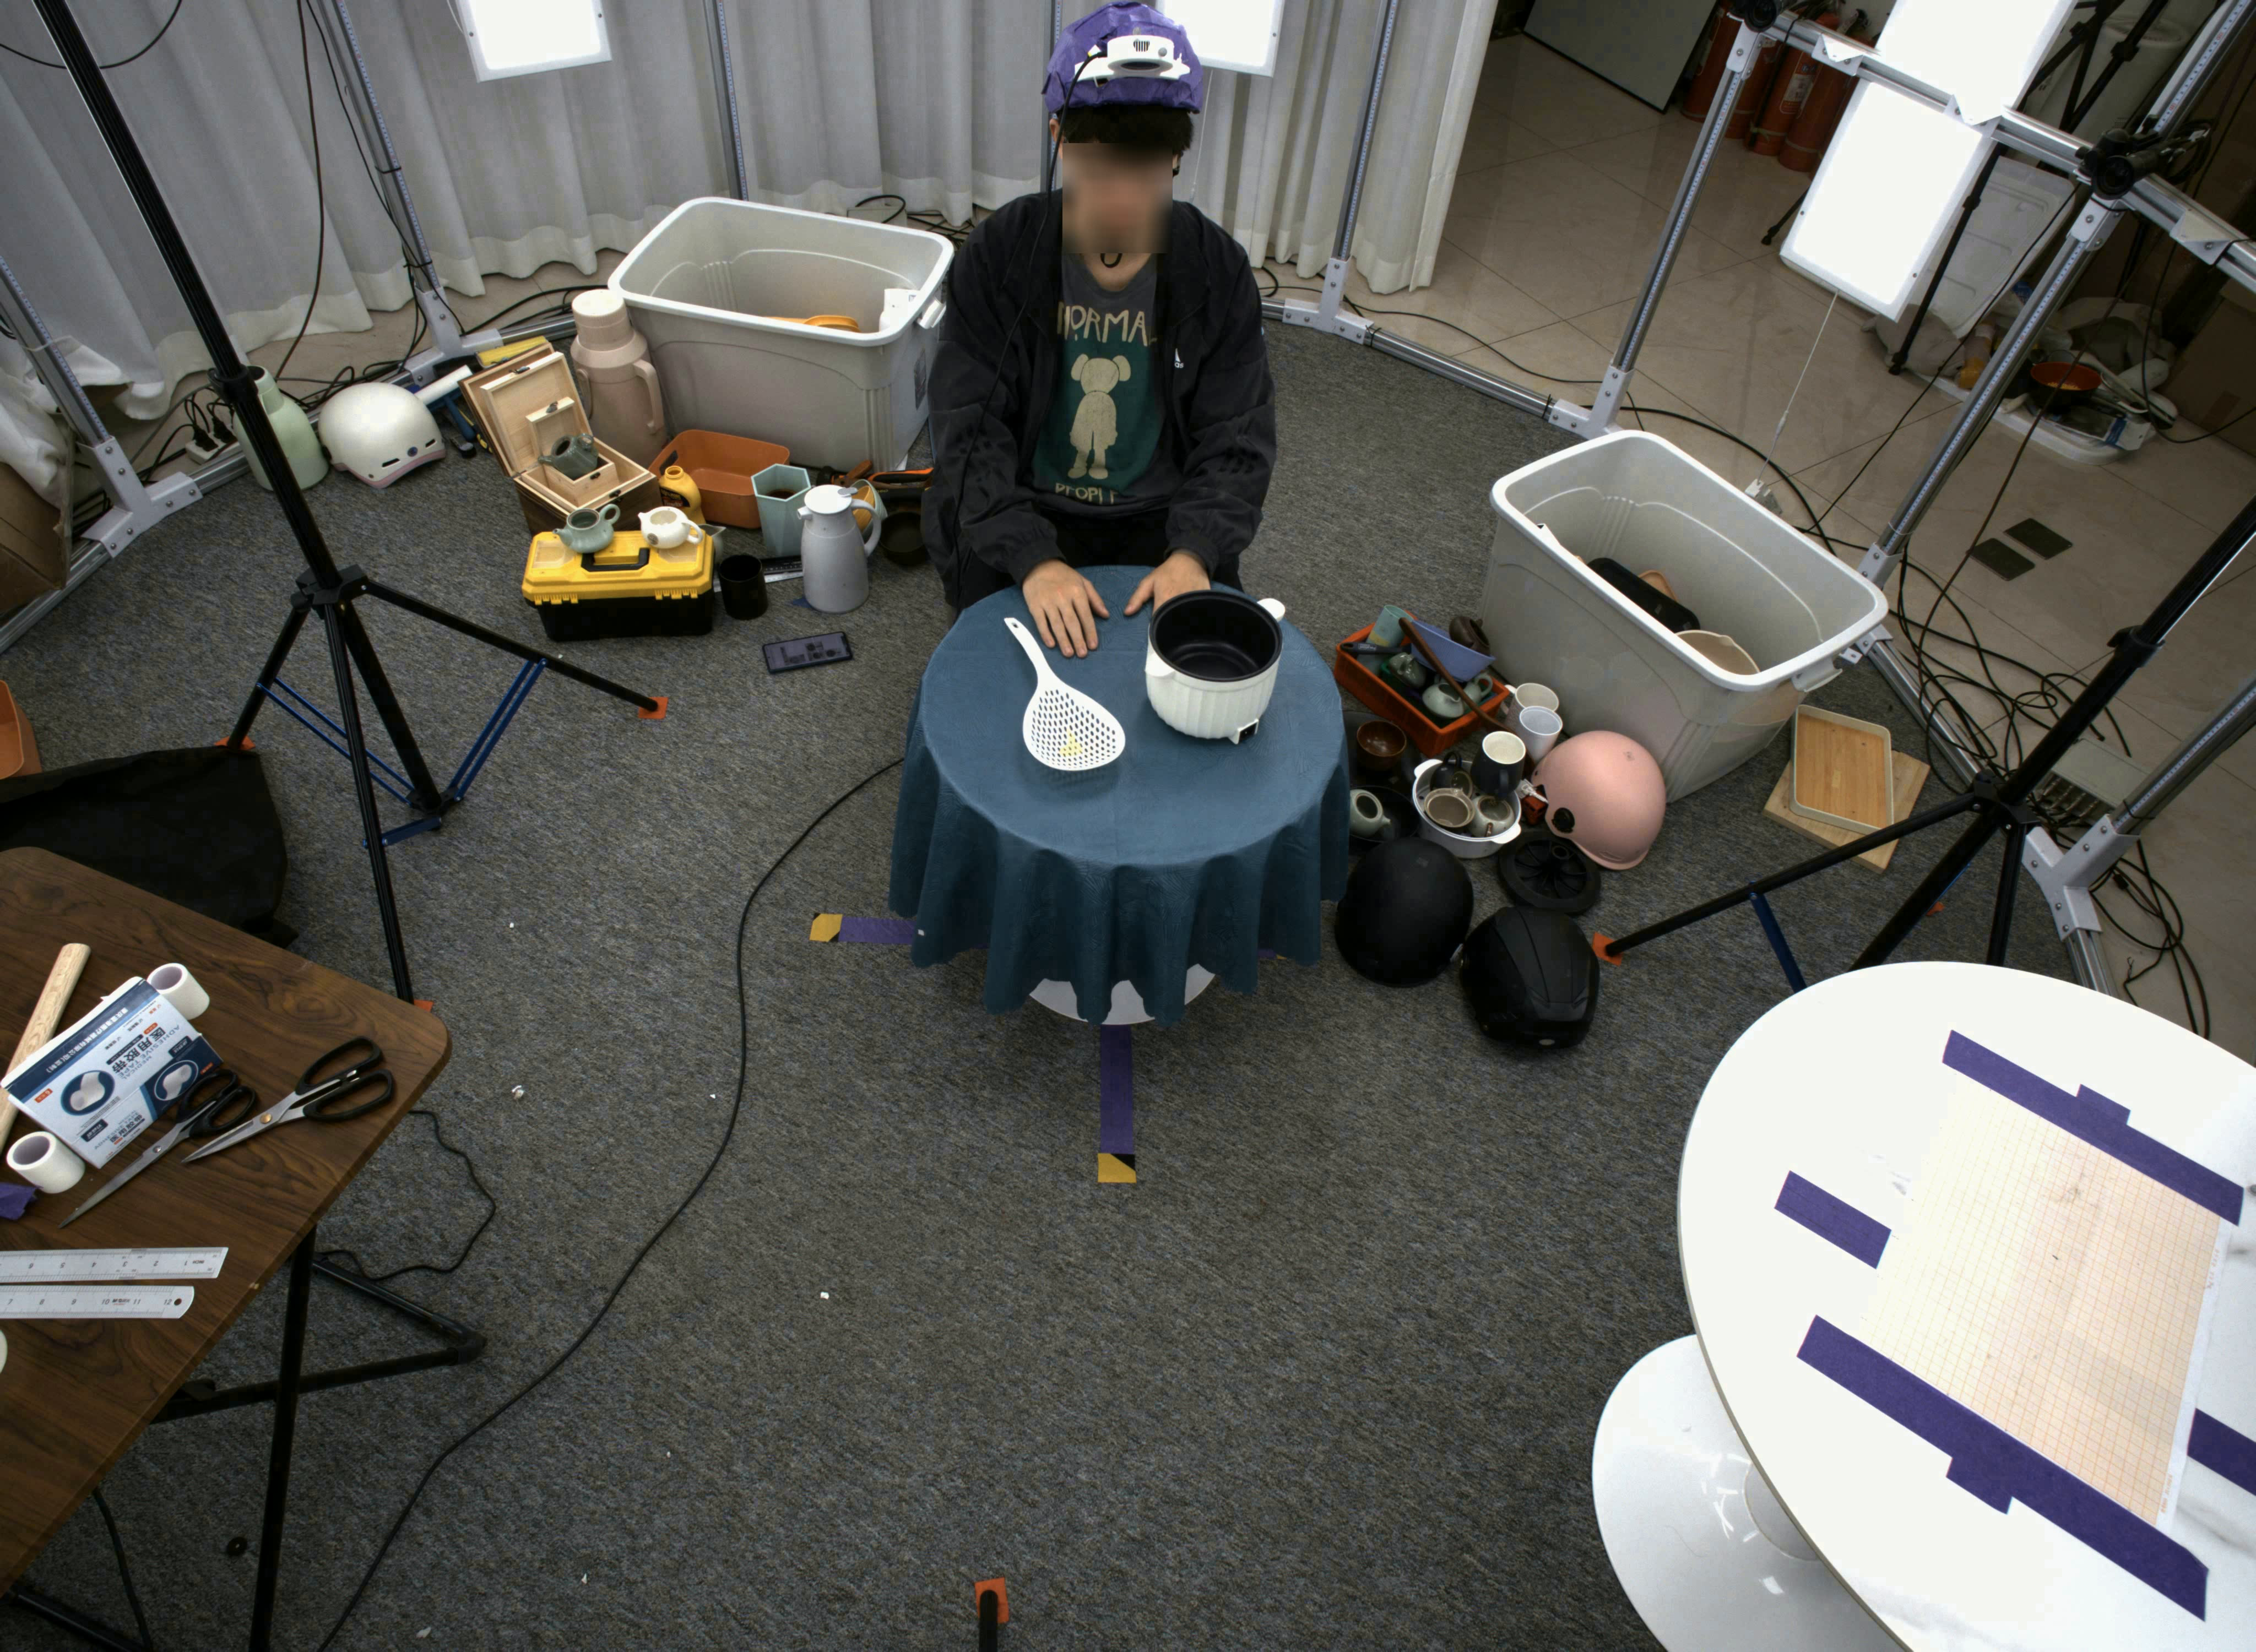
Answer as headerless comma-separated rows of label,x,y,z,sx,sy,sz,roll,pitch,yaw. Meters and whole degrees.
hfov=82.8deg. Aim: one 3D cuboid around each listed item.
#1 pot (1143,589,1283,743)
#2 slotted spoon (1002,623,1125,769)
pot,0.109,-0.219,1.775,0.242,0.139,0.194,-29,59,-27
slotted spoon,-0.112,-0.193,1.800,0.137,0.049,0.356,-14,51,-15
